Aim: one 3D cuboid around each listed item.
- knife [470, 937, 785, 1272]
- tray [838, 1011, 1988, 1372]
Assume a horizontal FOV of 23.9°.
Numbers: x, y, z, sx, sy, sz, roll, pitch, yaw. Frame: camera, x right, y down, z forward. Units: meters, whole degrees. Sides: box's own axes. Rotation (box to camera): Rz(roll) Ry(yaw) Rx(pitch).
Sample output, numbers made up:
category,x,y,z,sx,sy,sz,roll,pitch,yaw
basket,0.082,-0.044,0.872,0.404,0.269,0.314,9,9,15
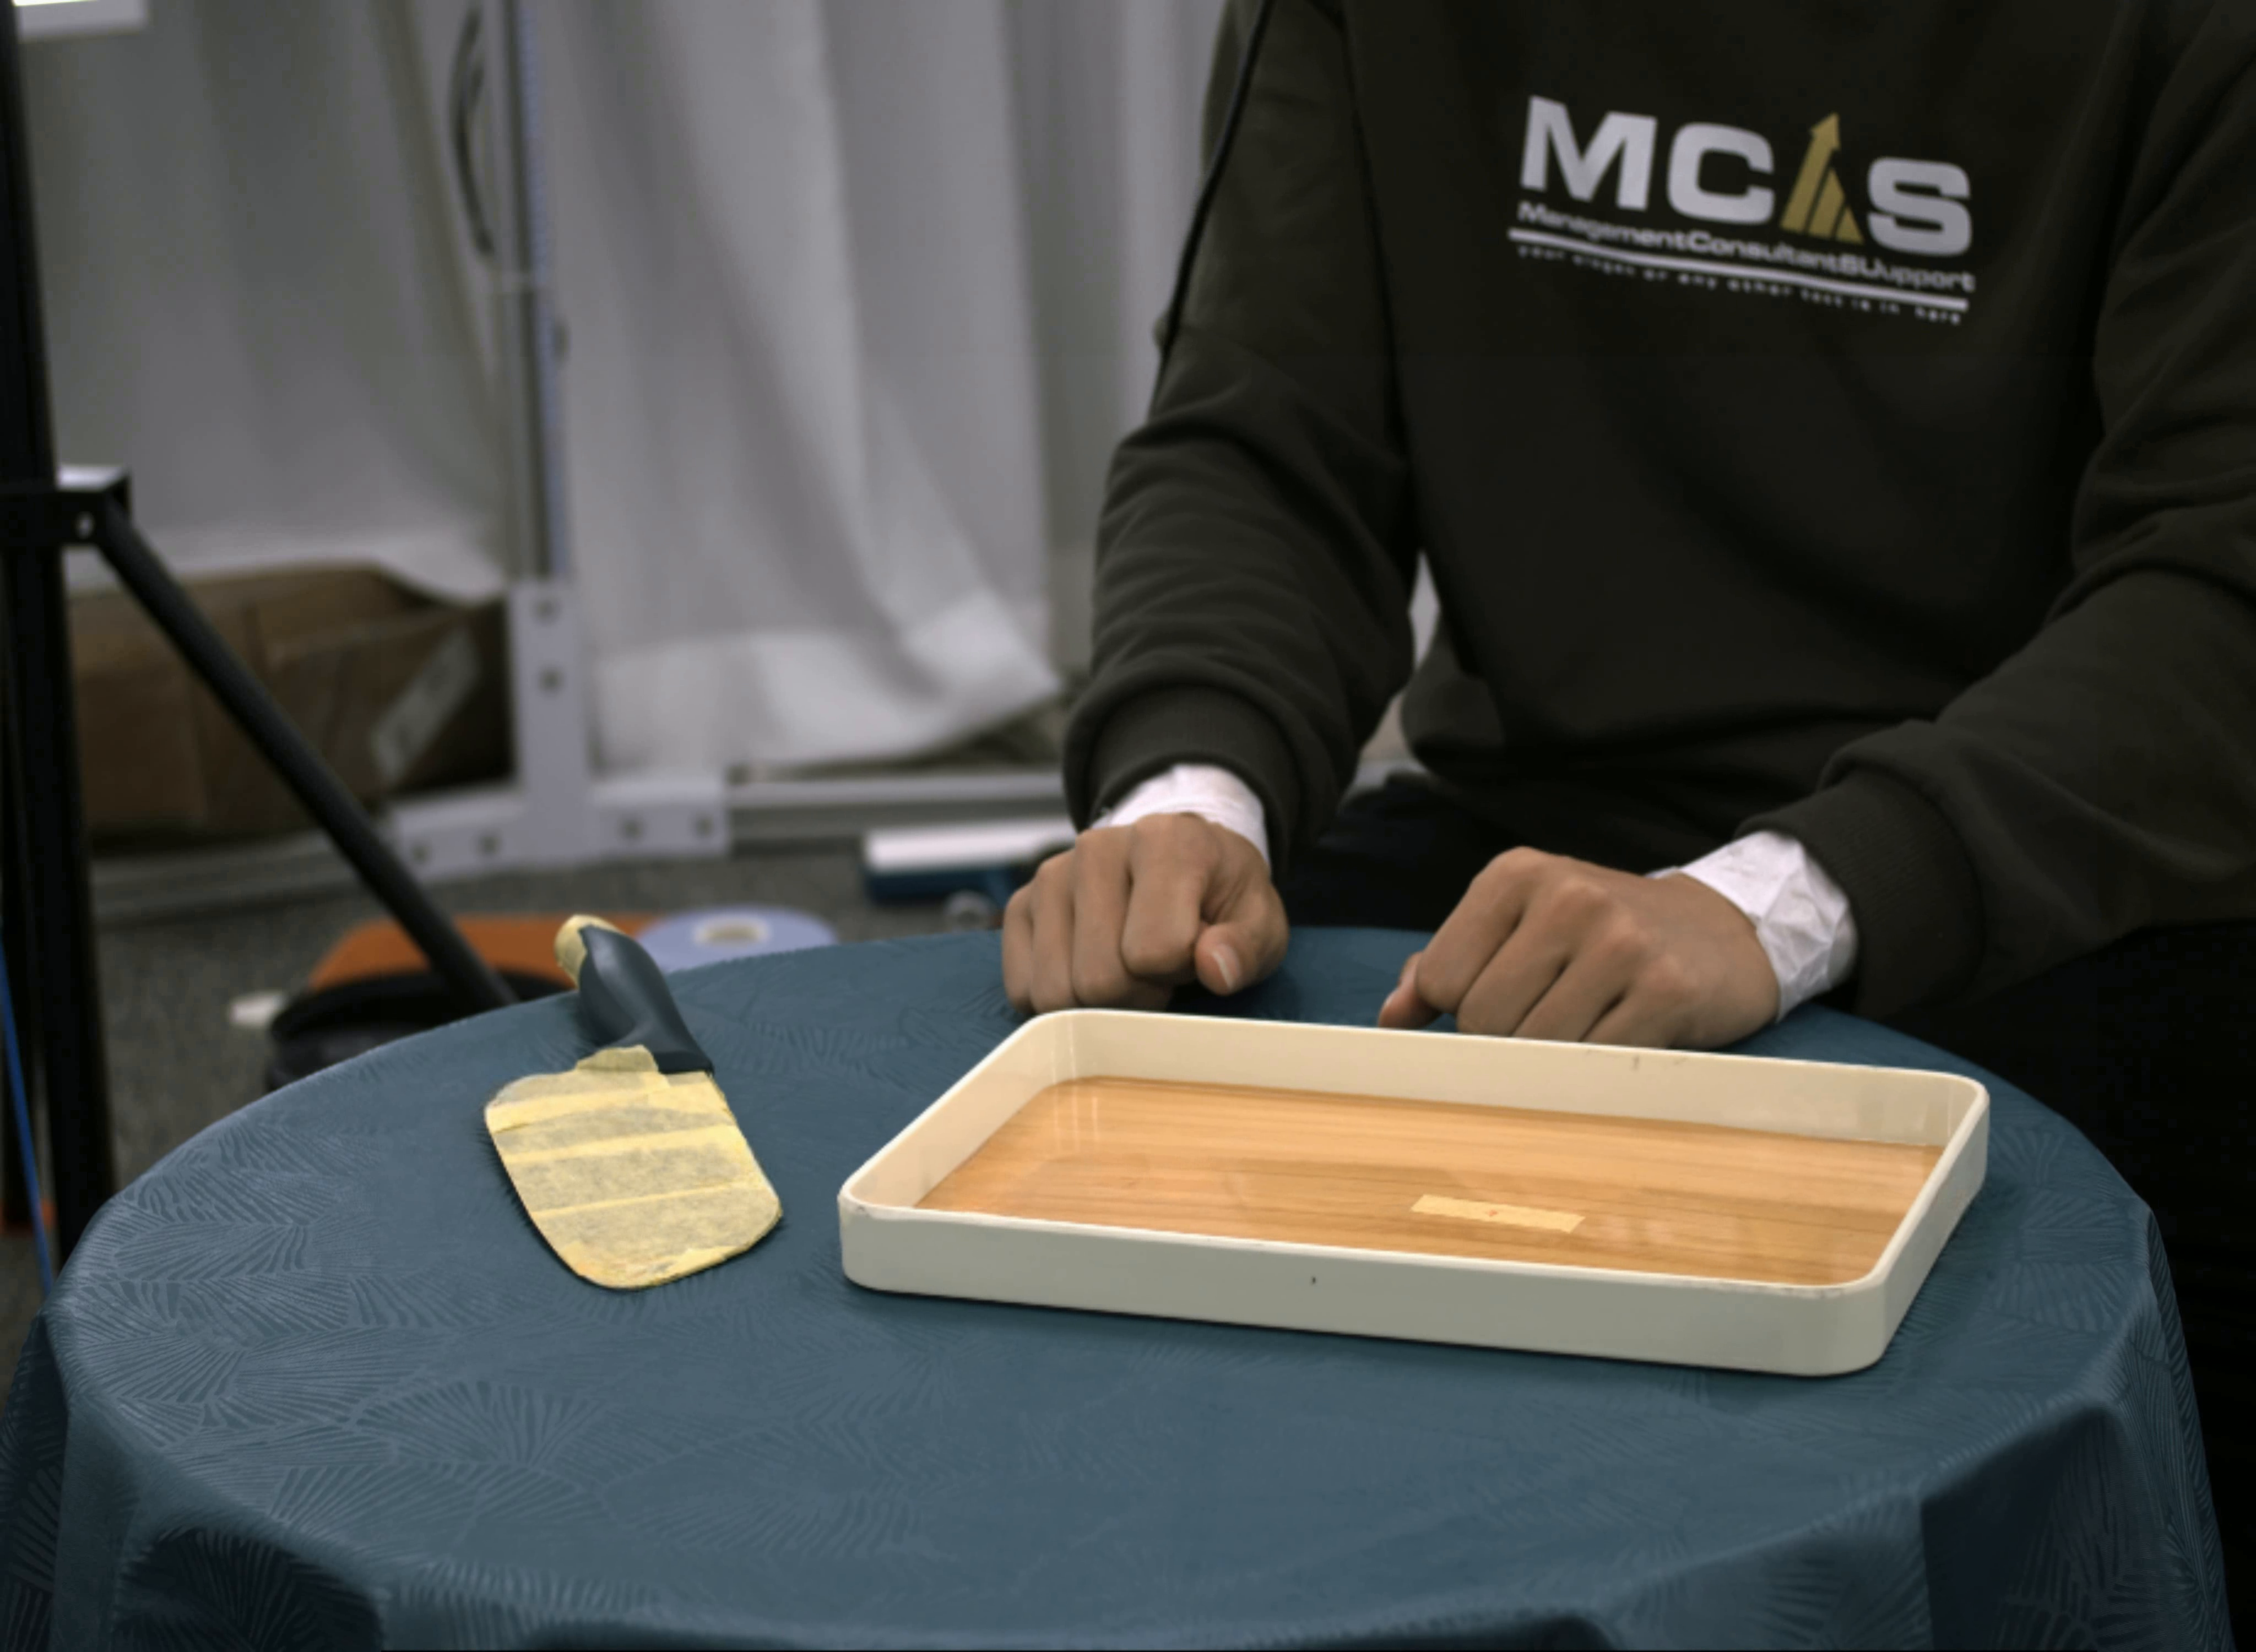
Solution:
category,x,y,z,sx,sy,sz,roll,pitch,yaw
knife,-0.160,0.086,1.639,0.080,0.027,0.293,-3,17,-12
tray,0.085,0.102,1.521,0.304,0.027,0.189,4,16,20
